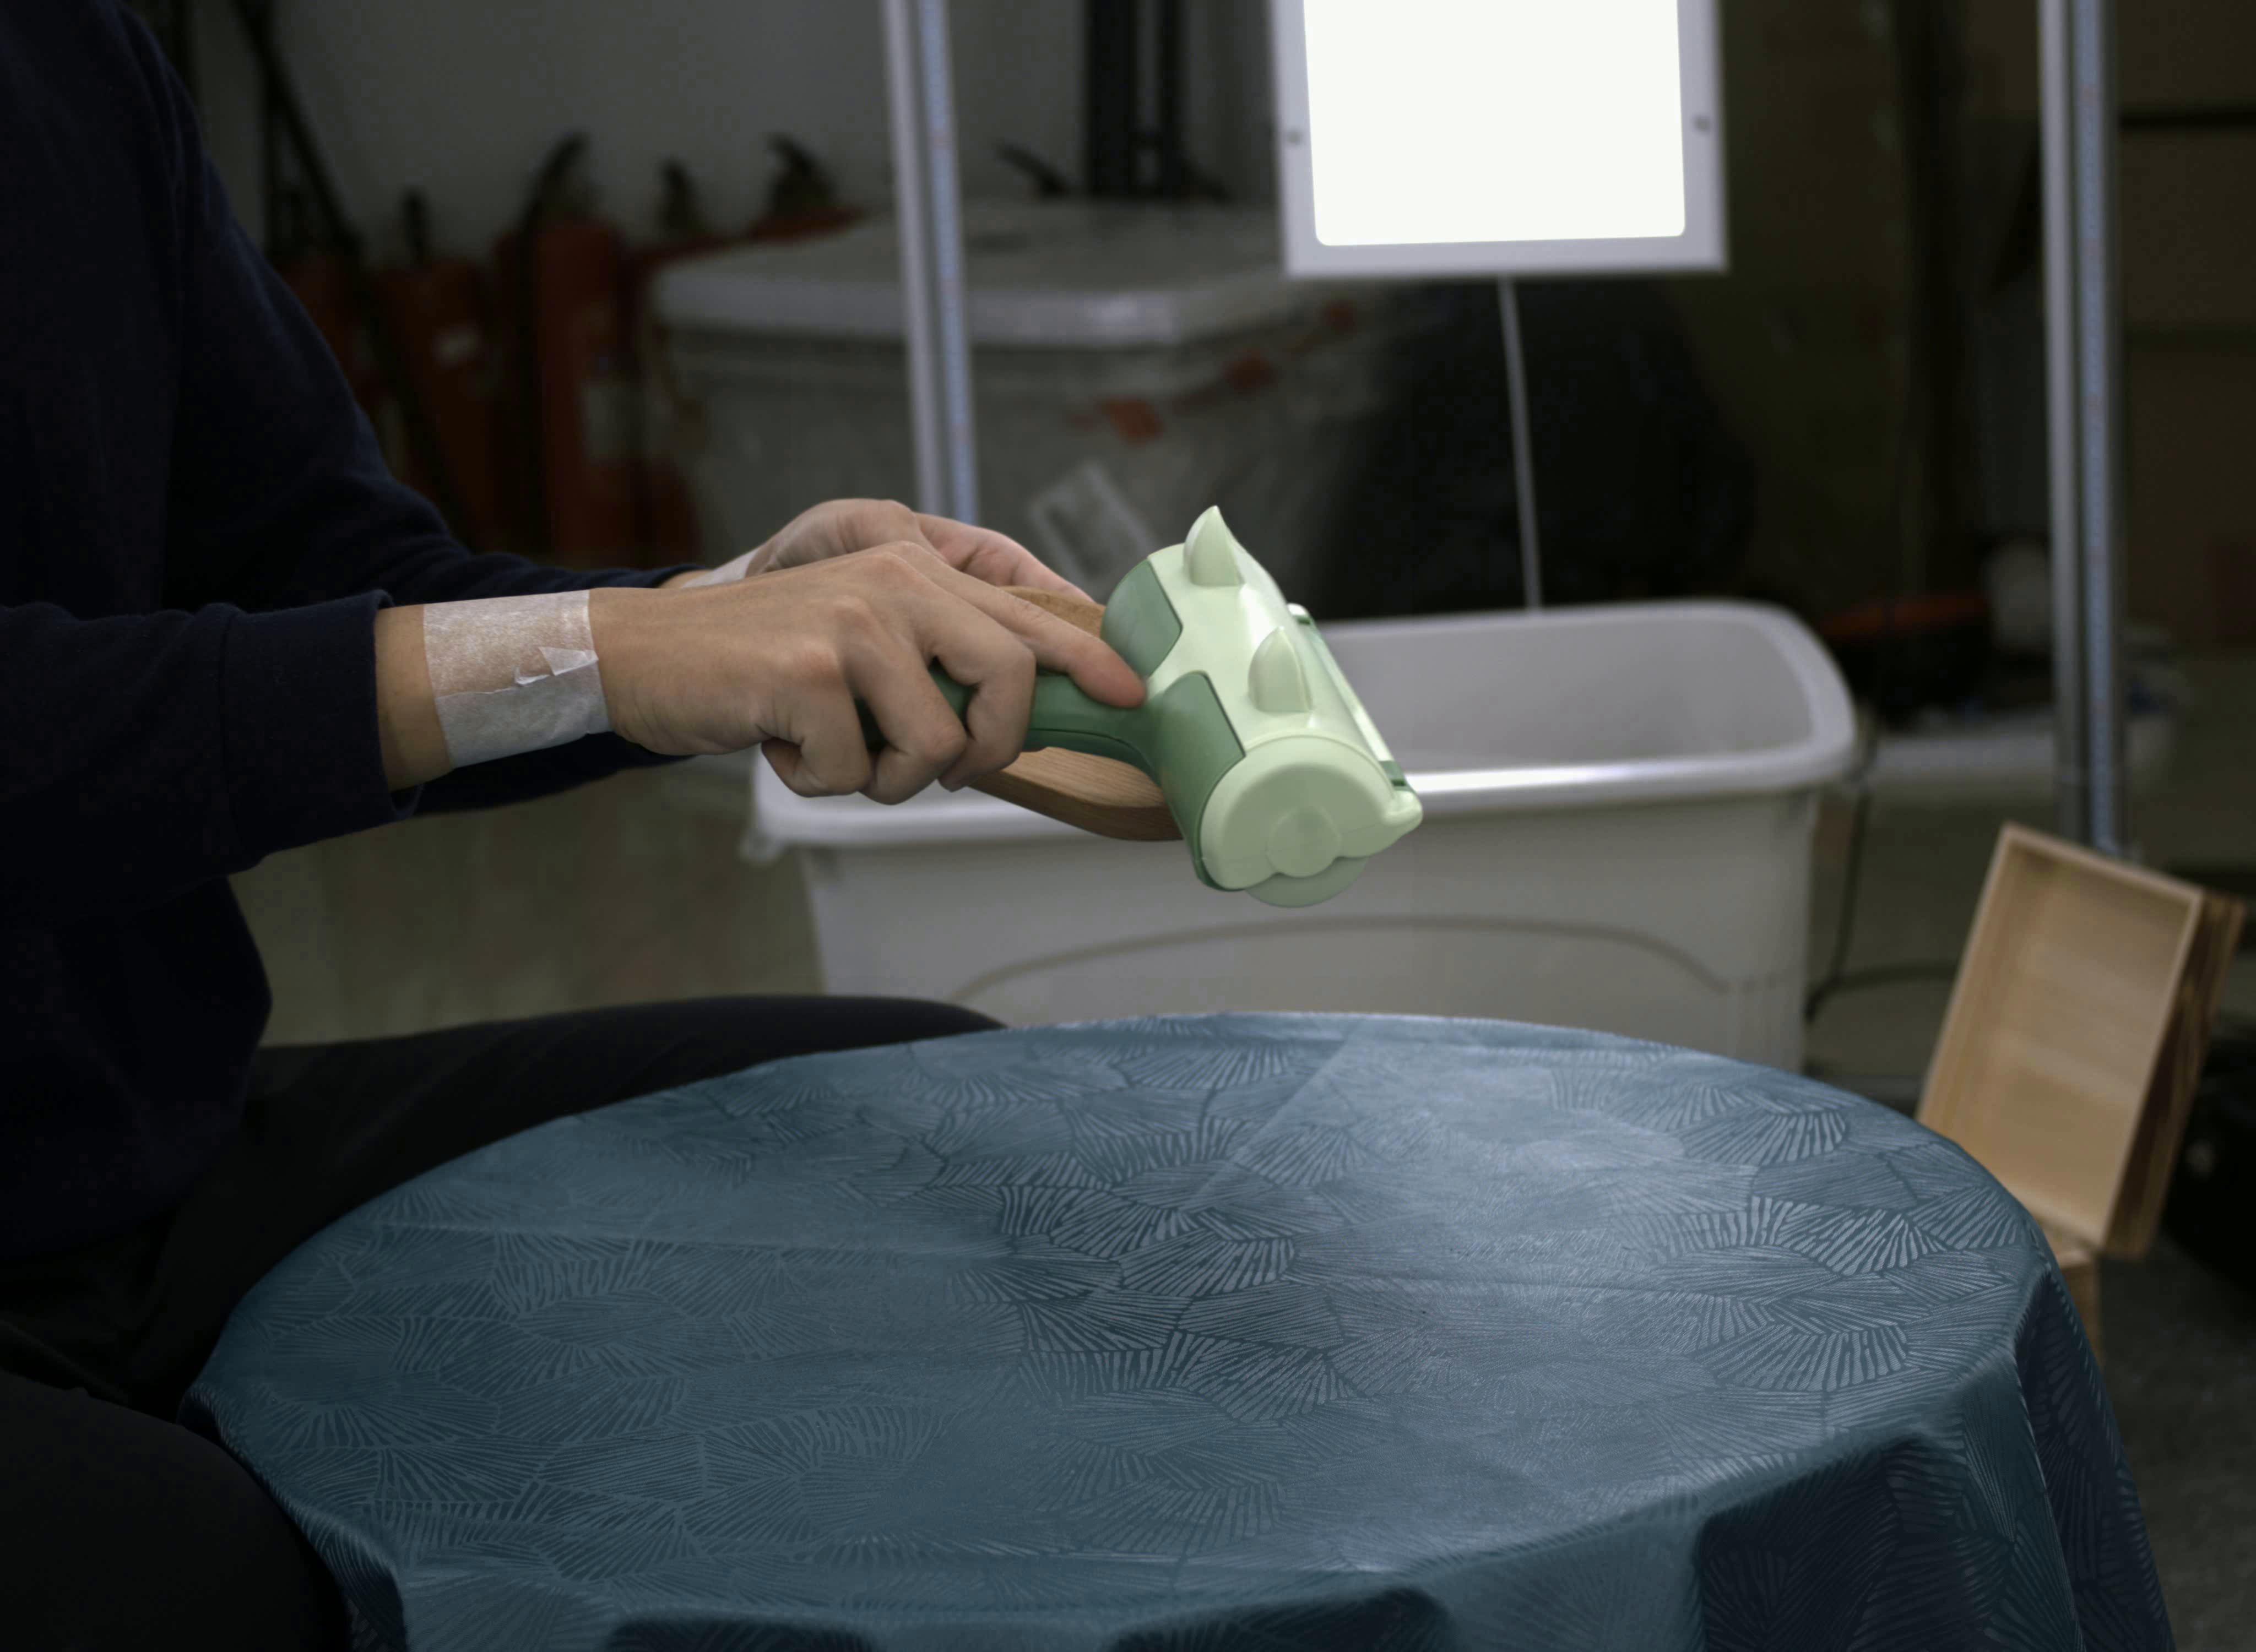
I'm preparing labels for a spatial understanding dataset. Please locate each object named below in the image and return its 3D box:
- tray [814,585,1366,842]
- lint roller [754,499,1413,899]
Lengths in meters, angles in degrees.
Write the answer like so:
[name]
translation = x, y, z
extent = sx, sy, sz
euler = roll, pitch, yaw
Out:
[tray]
translation = -0.015, -0.038, 1.788
extent = 0.099, 0.020, 0.236
euler = -30, 31, -28
[lint roller]
translation = -0.017, -0.056, 1.669
extent = 0.181, 0.083, 0.199
euler = 15, 17, -15
